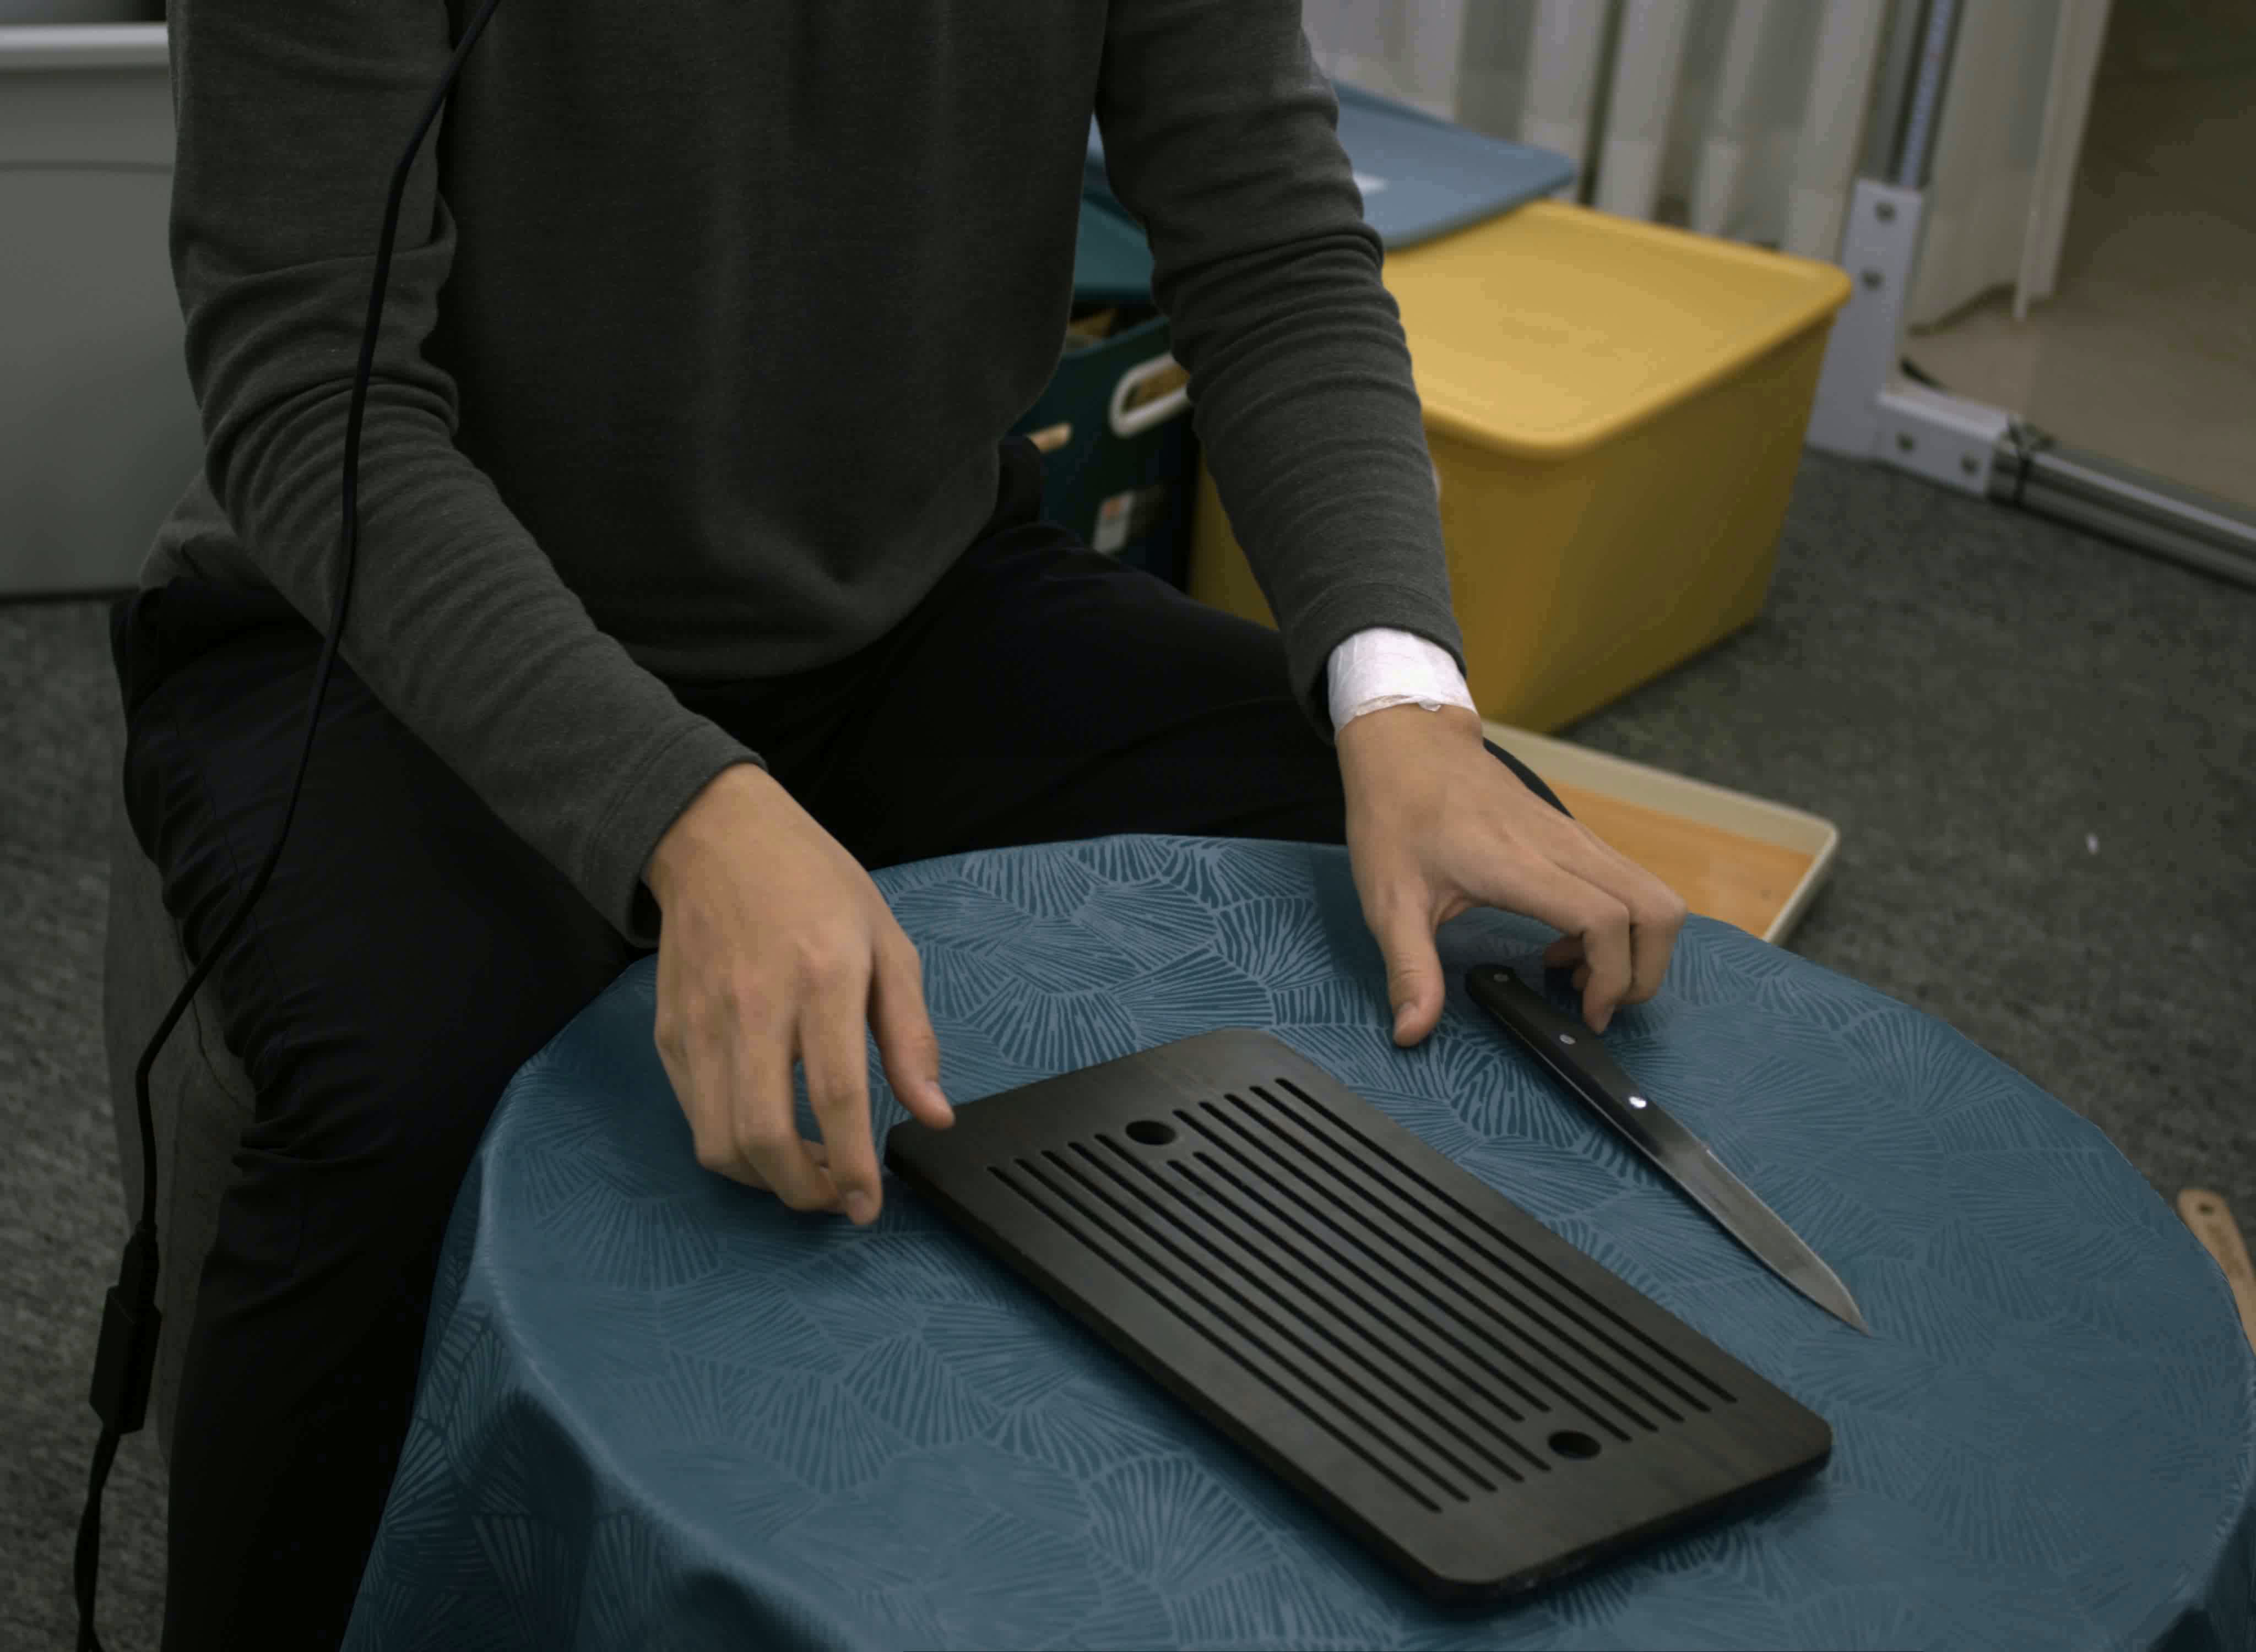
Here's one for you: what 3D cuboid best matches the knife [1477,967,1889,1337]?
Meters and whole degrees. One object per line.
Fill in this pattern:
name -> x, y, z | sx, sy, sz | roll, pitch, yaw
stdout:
knife -> 0.190, 0.114, 1.857 | 0.024, 0.016, 0.240 | -9, 33, -30

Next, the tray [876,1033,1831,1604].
tray -> 0.068, 0.156, 1.737 | 0.169, 0.018, 0.308 | -14, 33, -36
